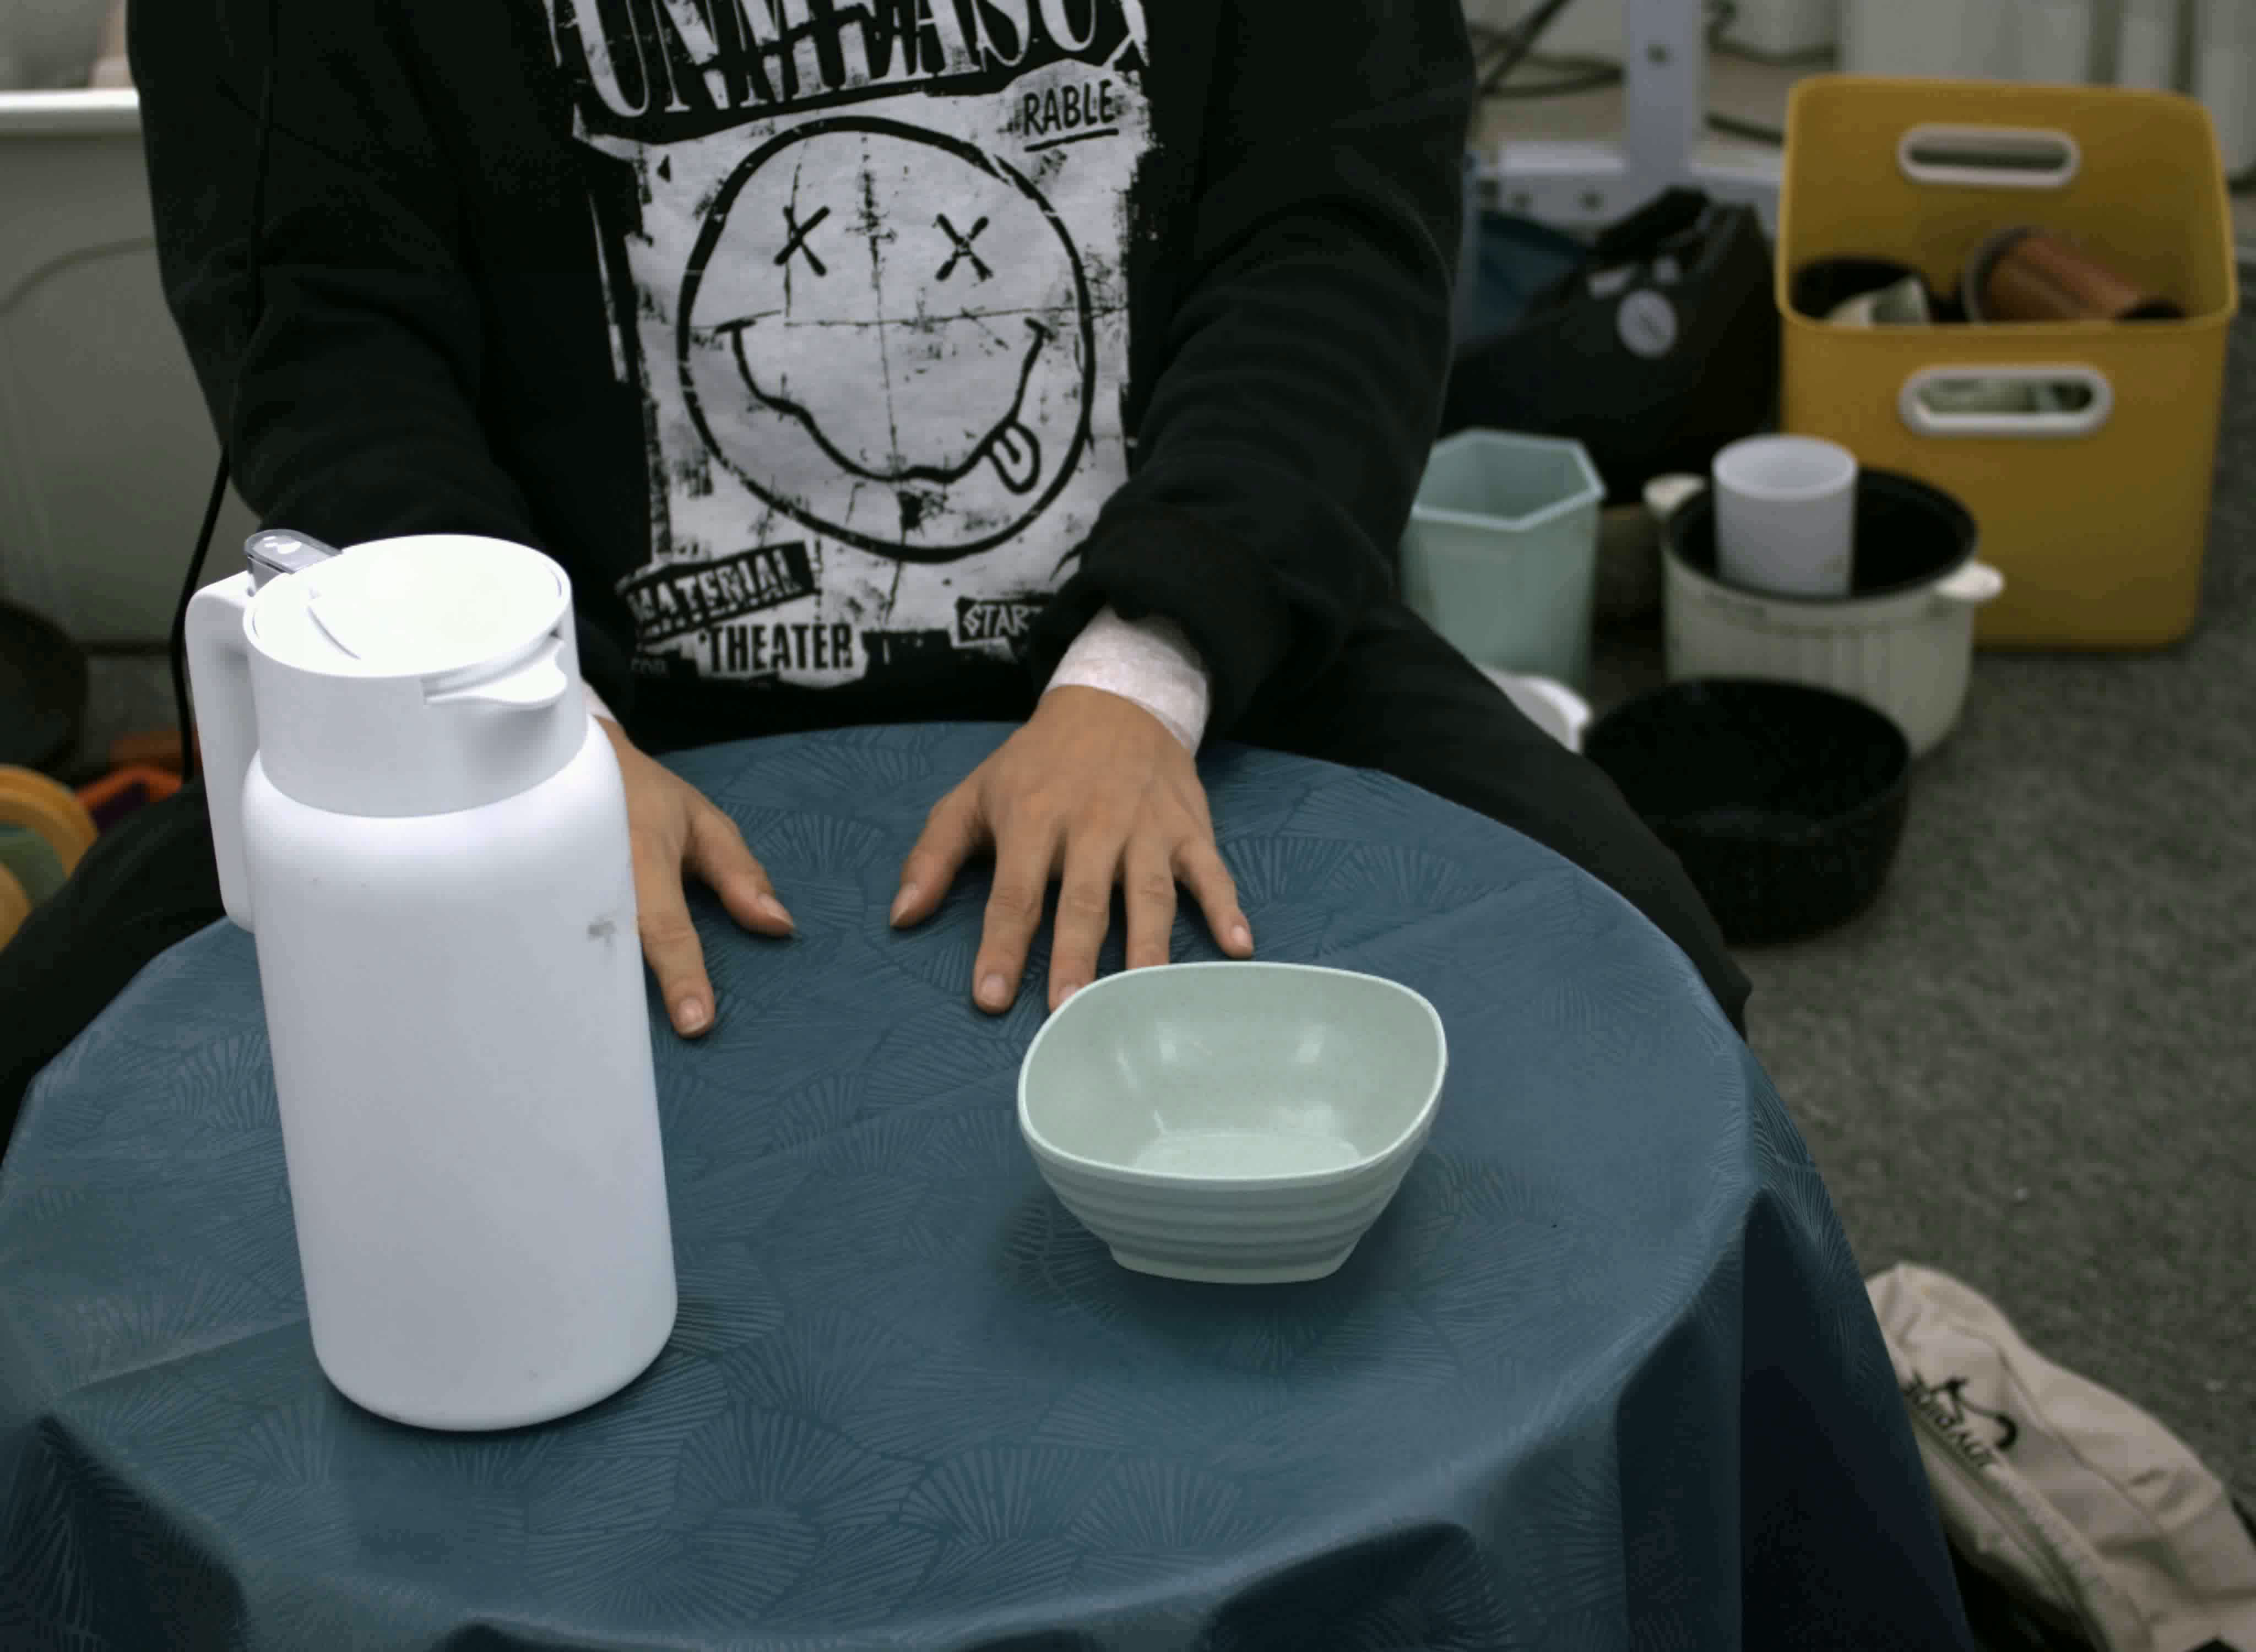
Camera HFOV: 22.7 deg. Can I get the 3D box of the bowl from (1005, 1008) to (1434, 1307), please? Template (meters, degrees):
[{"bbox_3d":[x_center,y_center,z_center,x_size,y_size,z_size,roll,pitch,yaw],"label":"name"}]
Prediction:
[{"bbox_3d":[0.031,0.113,1.830,0.151,0.058,0.153,-3,20,2],"label":"bowl"}]

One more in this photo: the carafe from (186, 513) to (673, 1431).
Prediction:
[{"bbox_3d":[-0.221,0.043,1.746,0.172,0.266,0.125,21,37,40],"label":"carafe"}]
